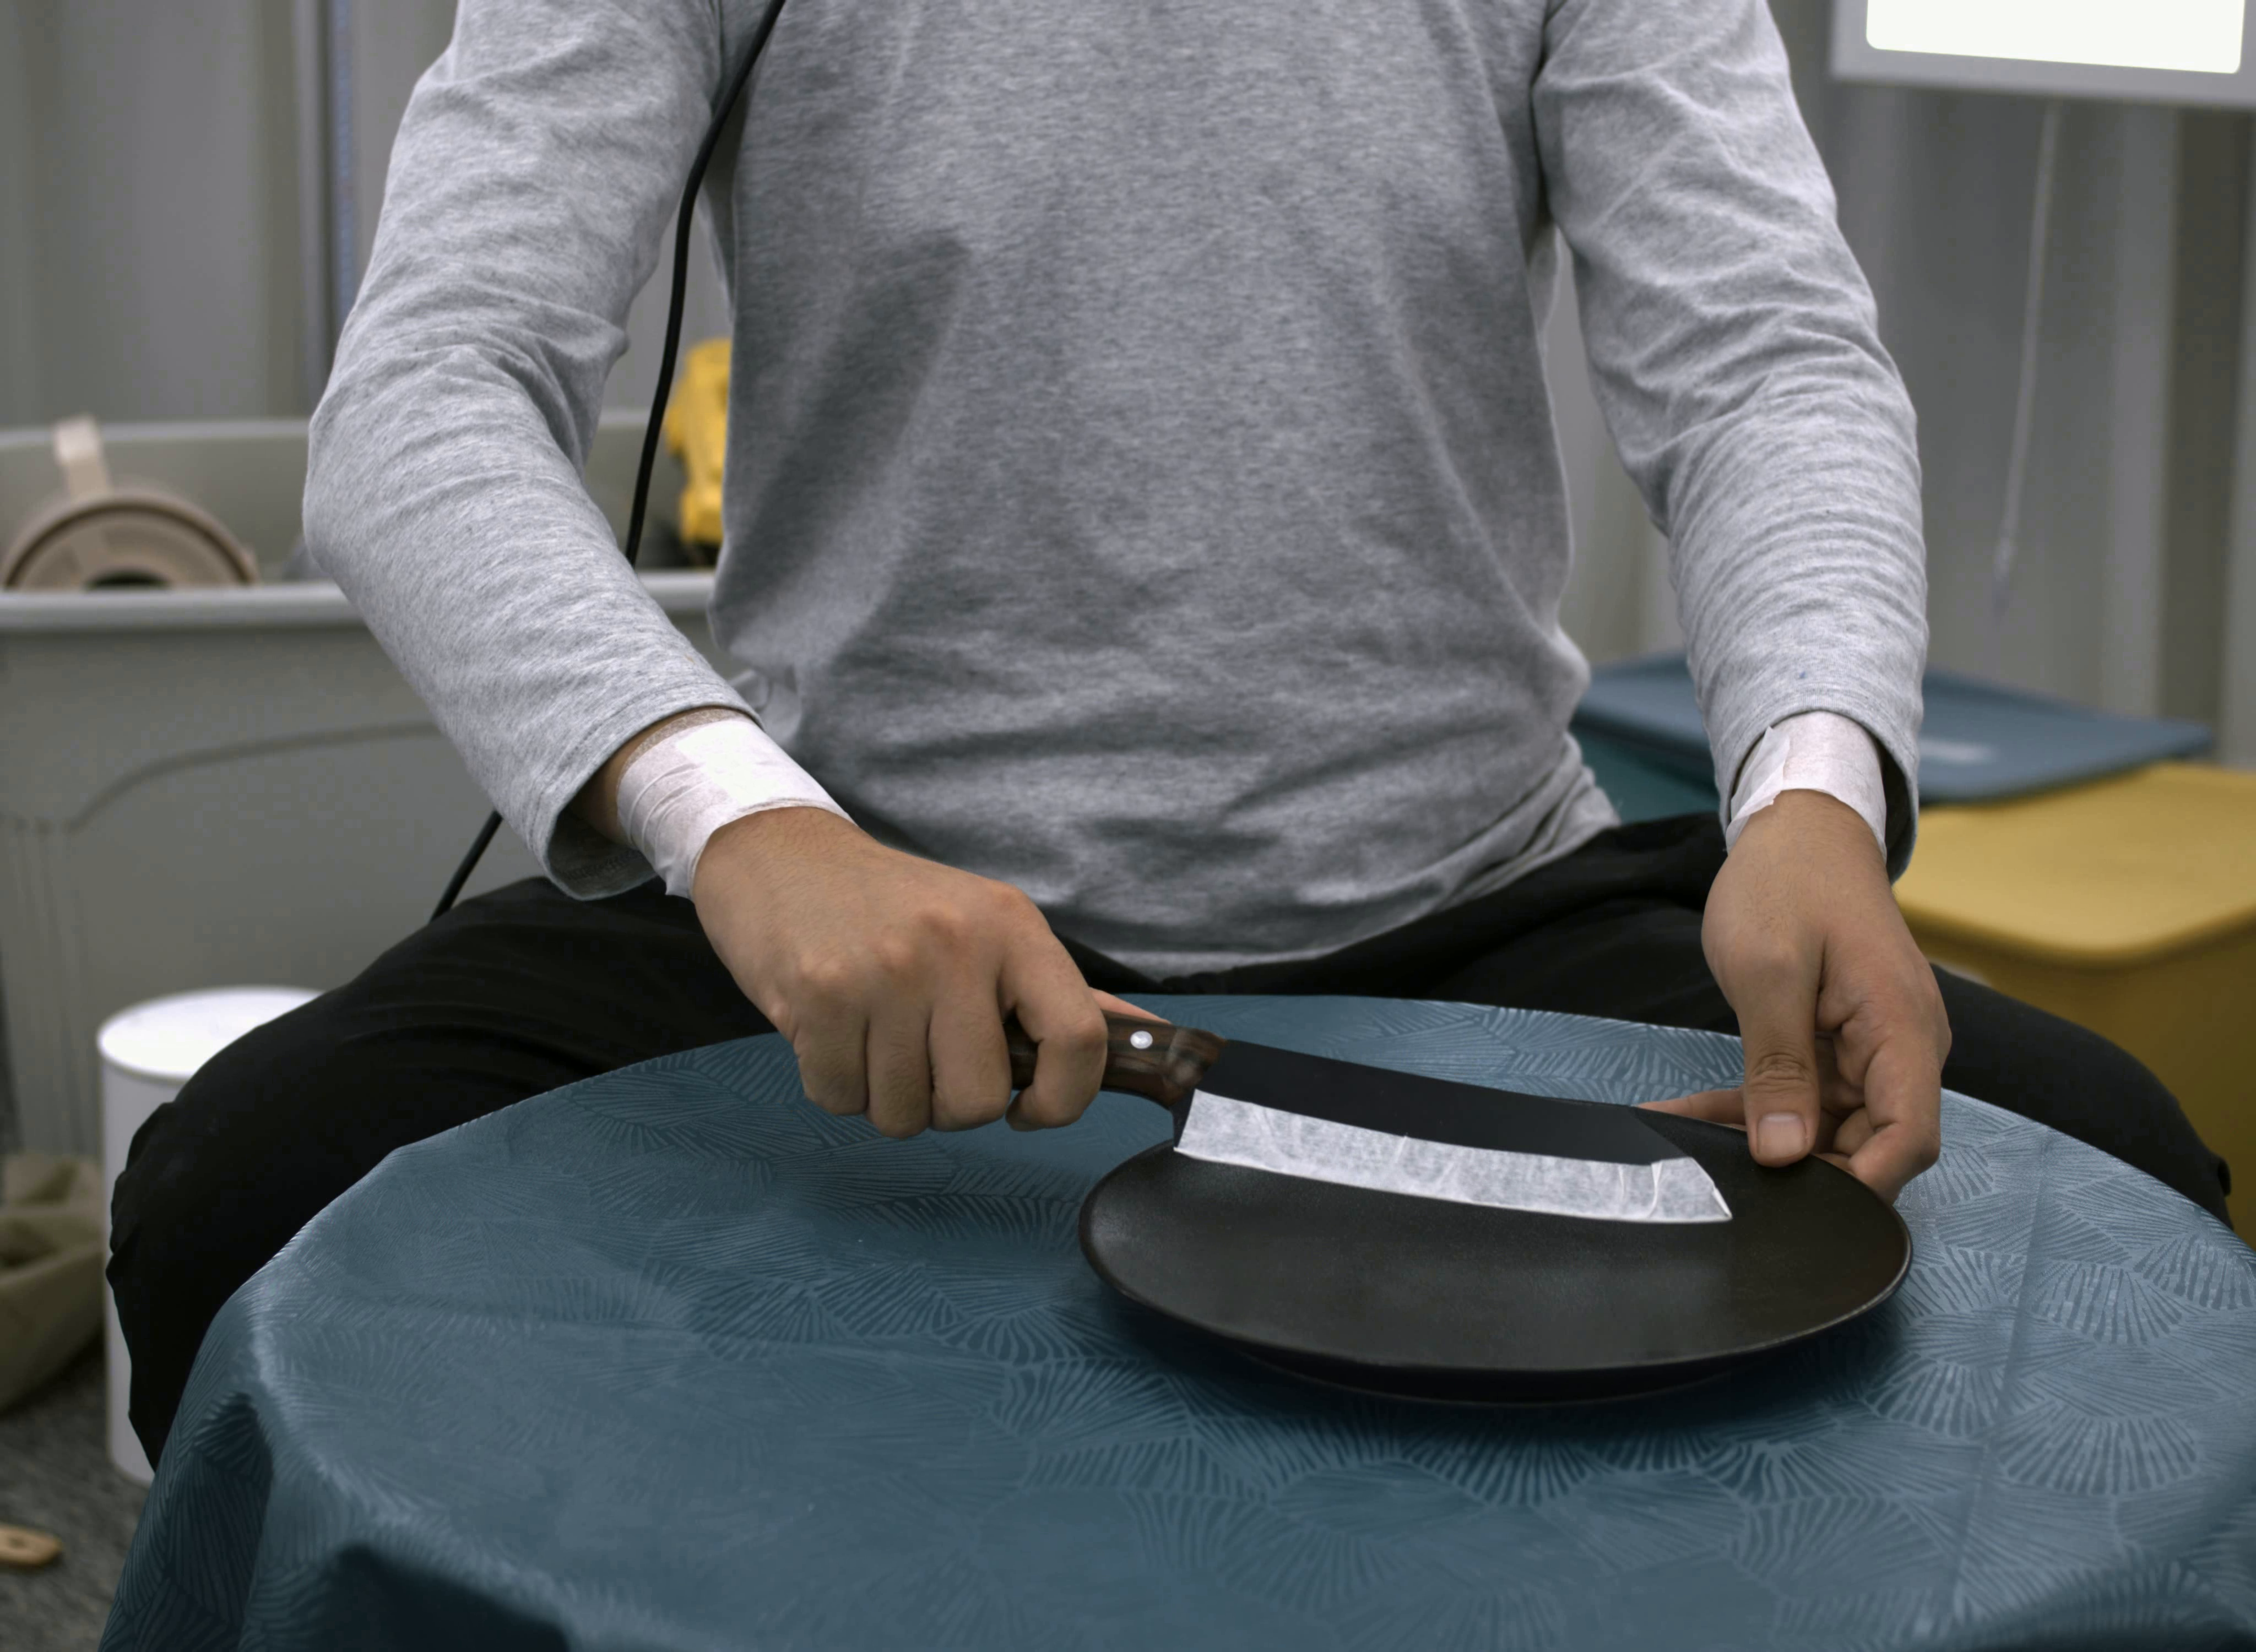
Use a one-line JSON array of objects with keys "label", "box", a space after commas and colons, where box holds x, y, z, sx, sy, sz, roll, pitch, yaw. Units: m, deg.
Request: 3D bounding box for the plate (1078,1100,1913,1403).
[{"label": "plate", "box": [0.106, 0.125, 1.538, 0.243, 0.023, 0.243, 0, 15, 0]}]

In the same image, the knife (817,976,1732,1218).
[{"label": "knife", "box": [0.041, 0.082, 1.585, 0.287, 0.020, 0.050, 11, 57, 11]}]
